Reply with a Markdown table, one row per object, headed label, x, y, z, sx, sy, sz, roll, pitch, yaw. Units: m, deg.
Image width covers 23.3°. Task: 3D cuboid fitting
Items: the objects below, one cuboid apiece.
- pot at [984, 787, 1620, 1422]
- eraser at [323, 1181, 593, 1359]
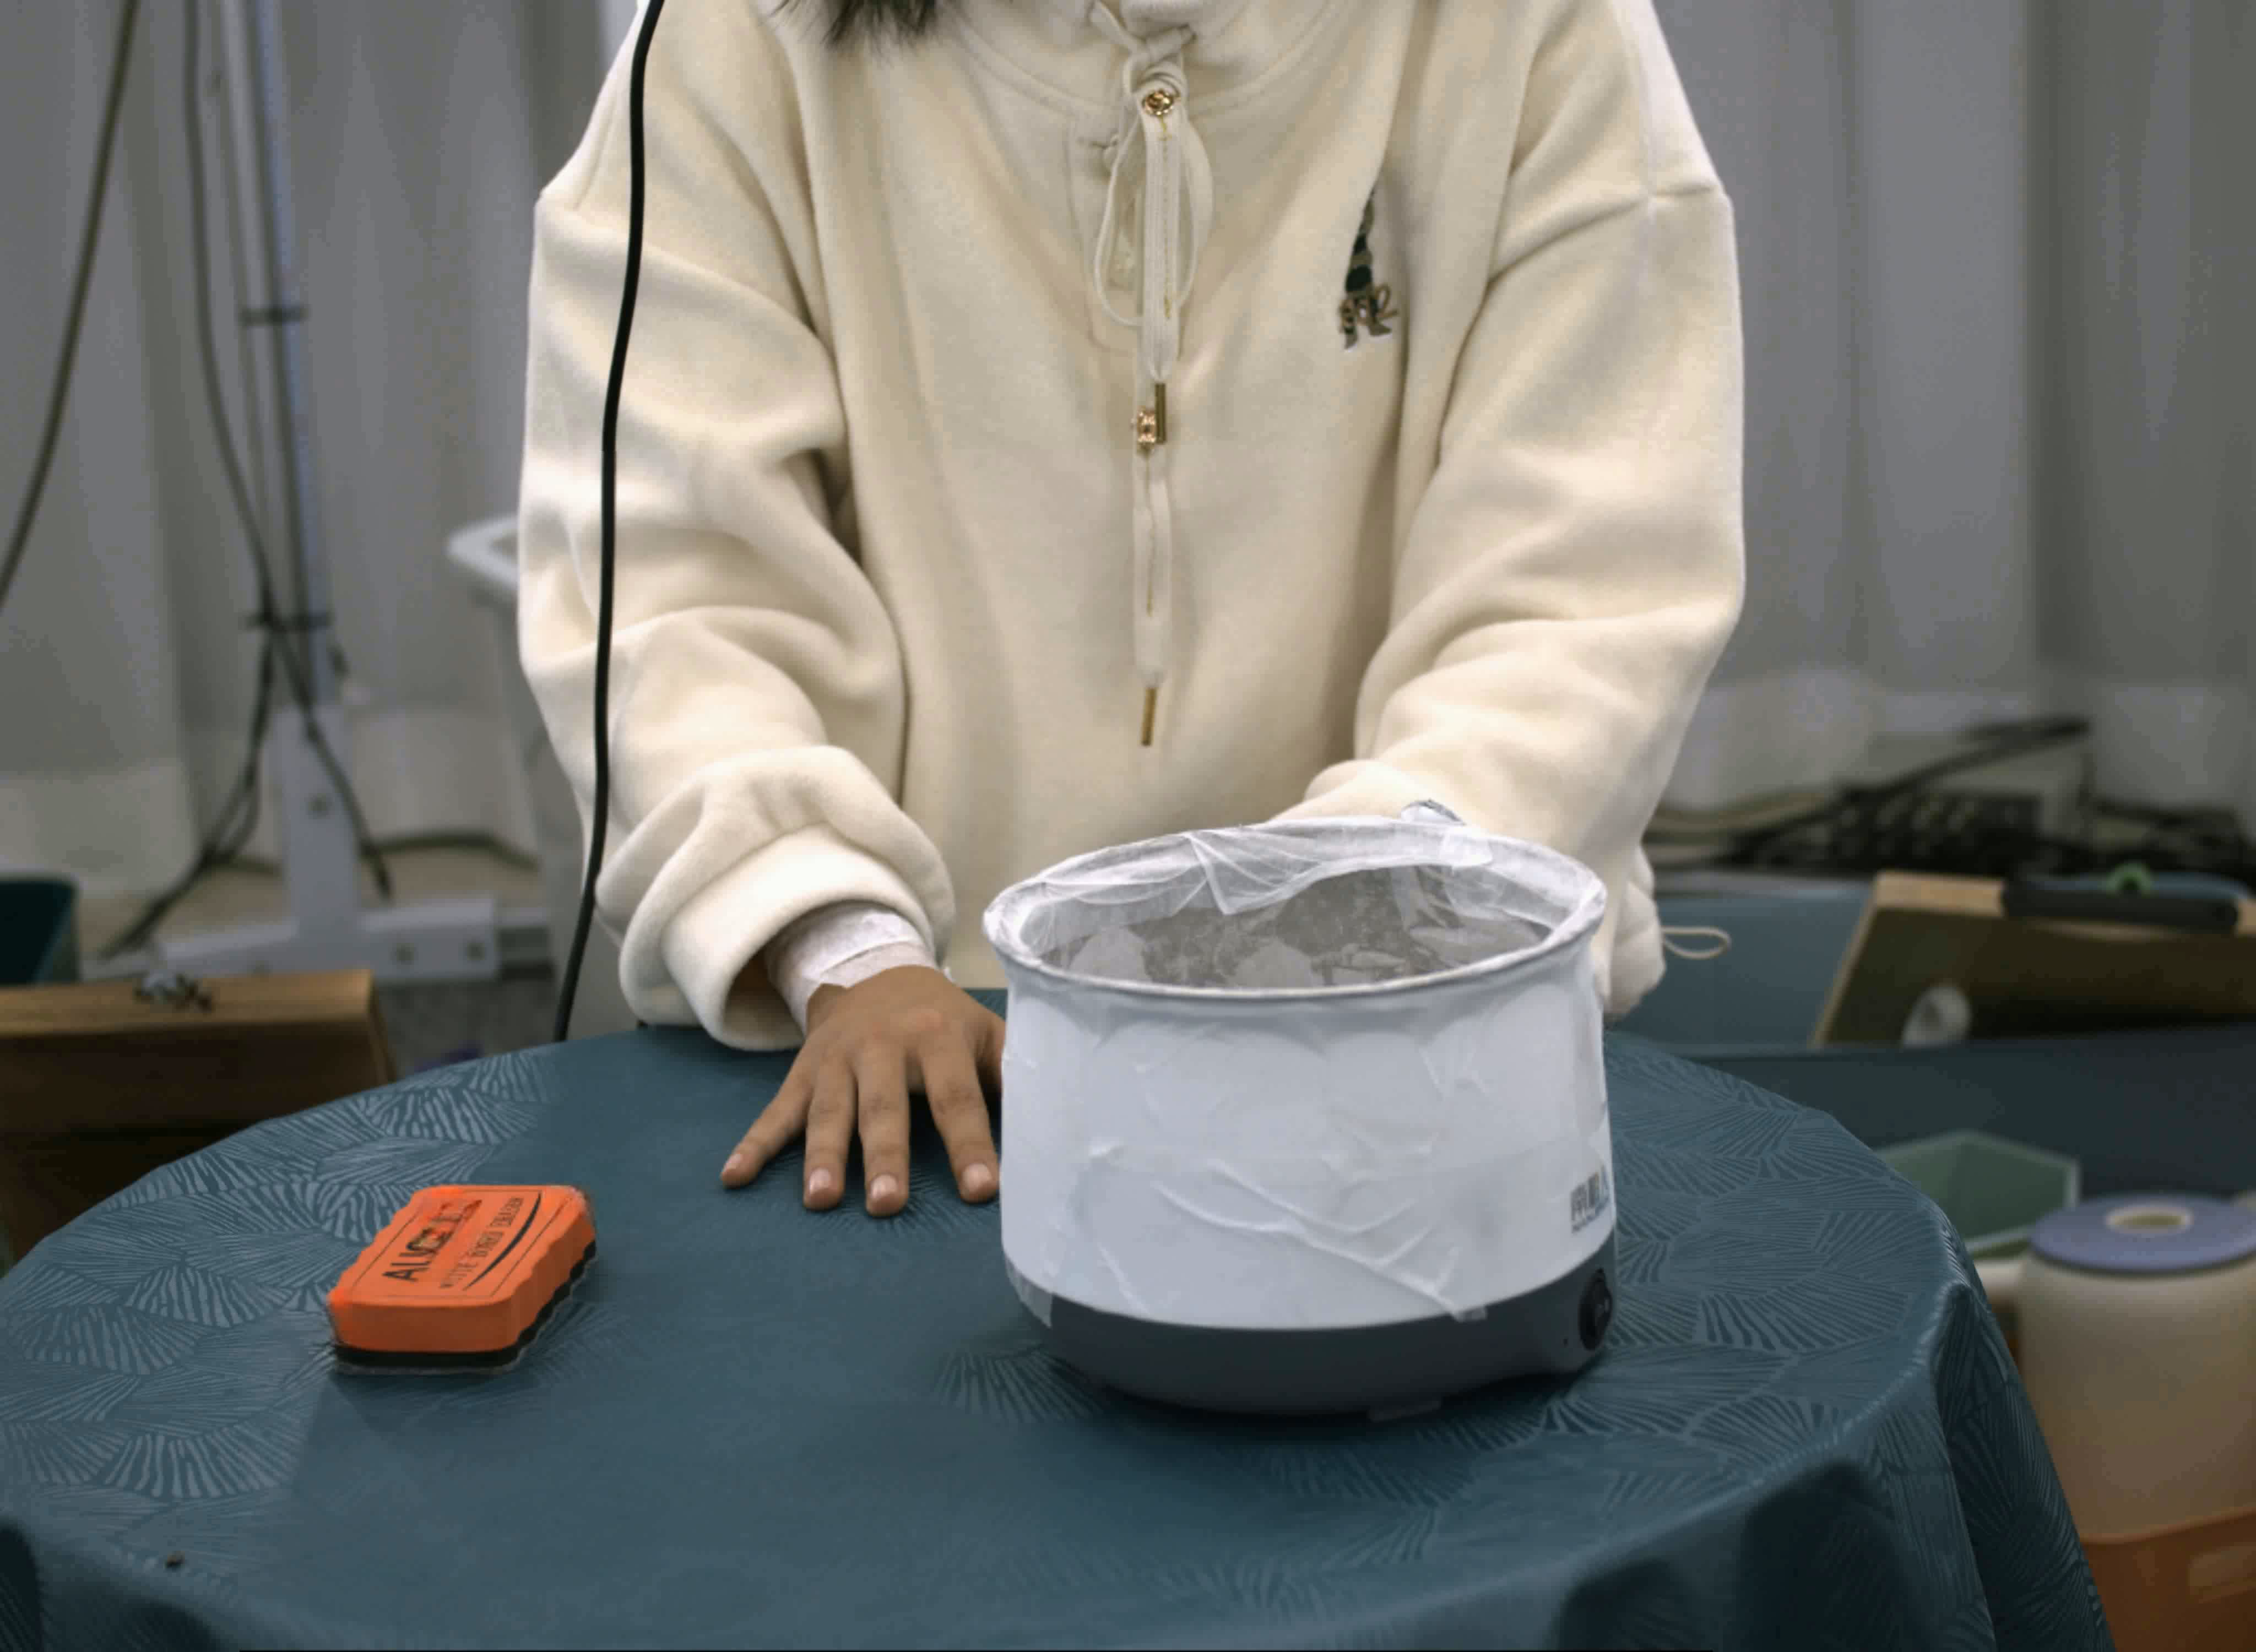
| label | x | y | z | sx | sy | sz | roll | pitch | yaw |
| --- | --- | --- | --- | --- | --- | --- | --- | --- | --- |
| pot | 0.061 | 0.074 | 1.583 | 0.179 | 0.136 | 0.234 | 3 | 17 | 24 |
| eraser | -0.198 | 0.132 | 1.631 | 0.059 | 0.023 | 0.108 | 0 | 13 | 9 |
